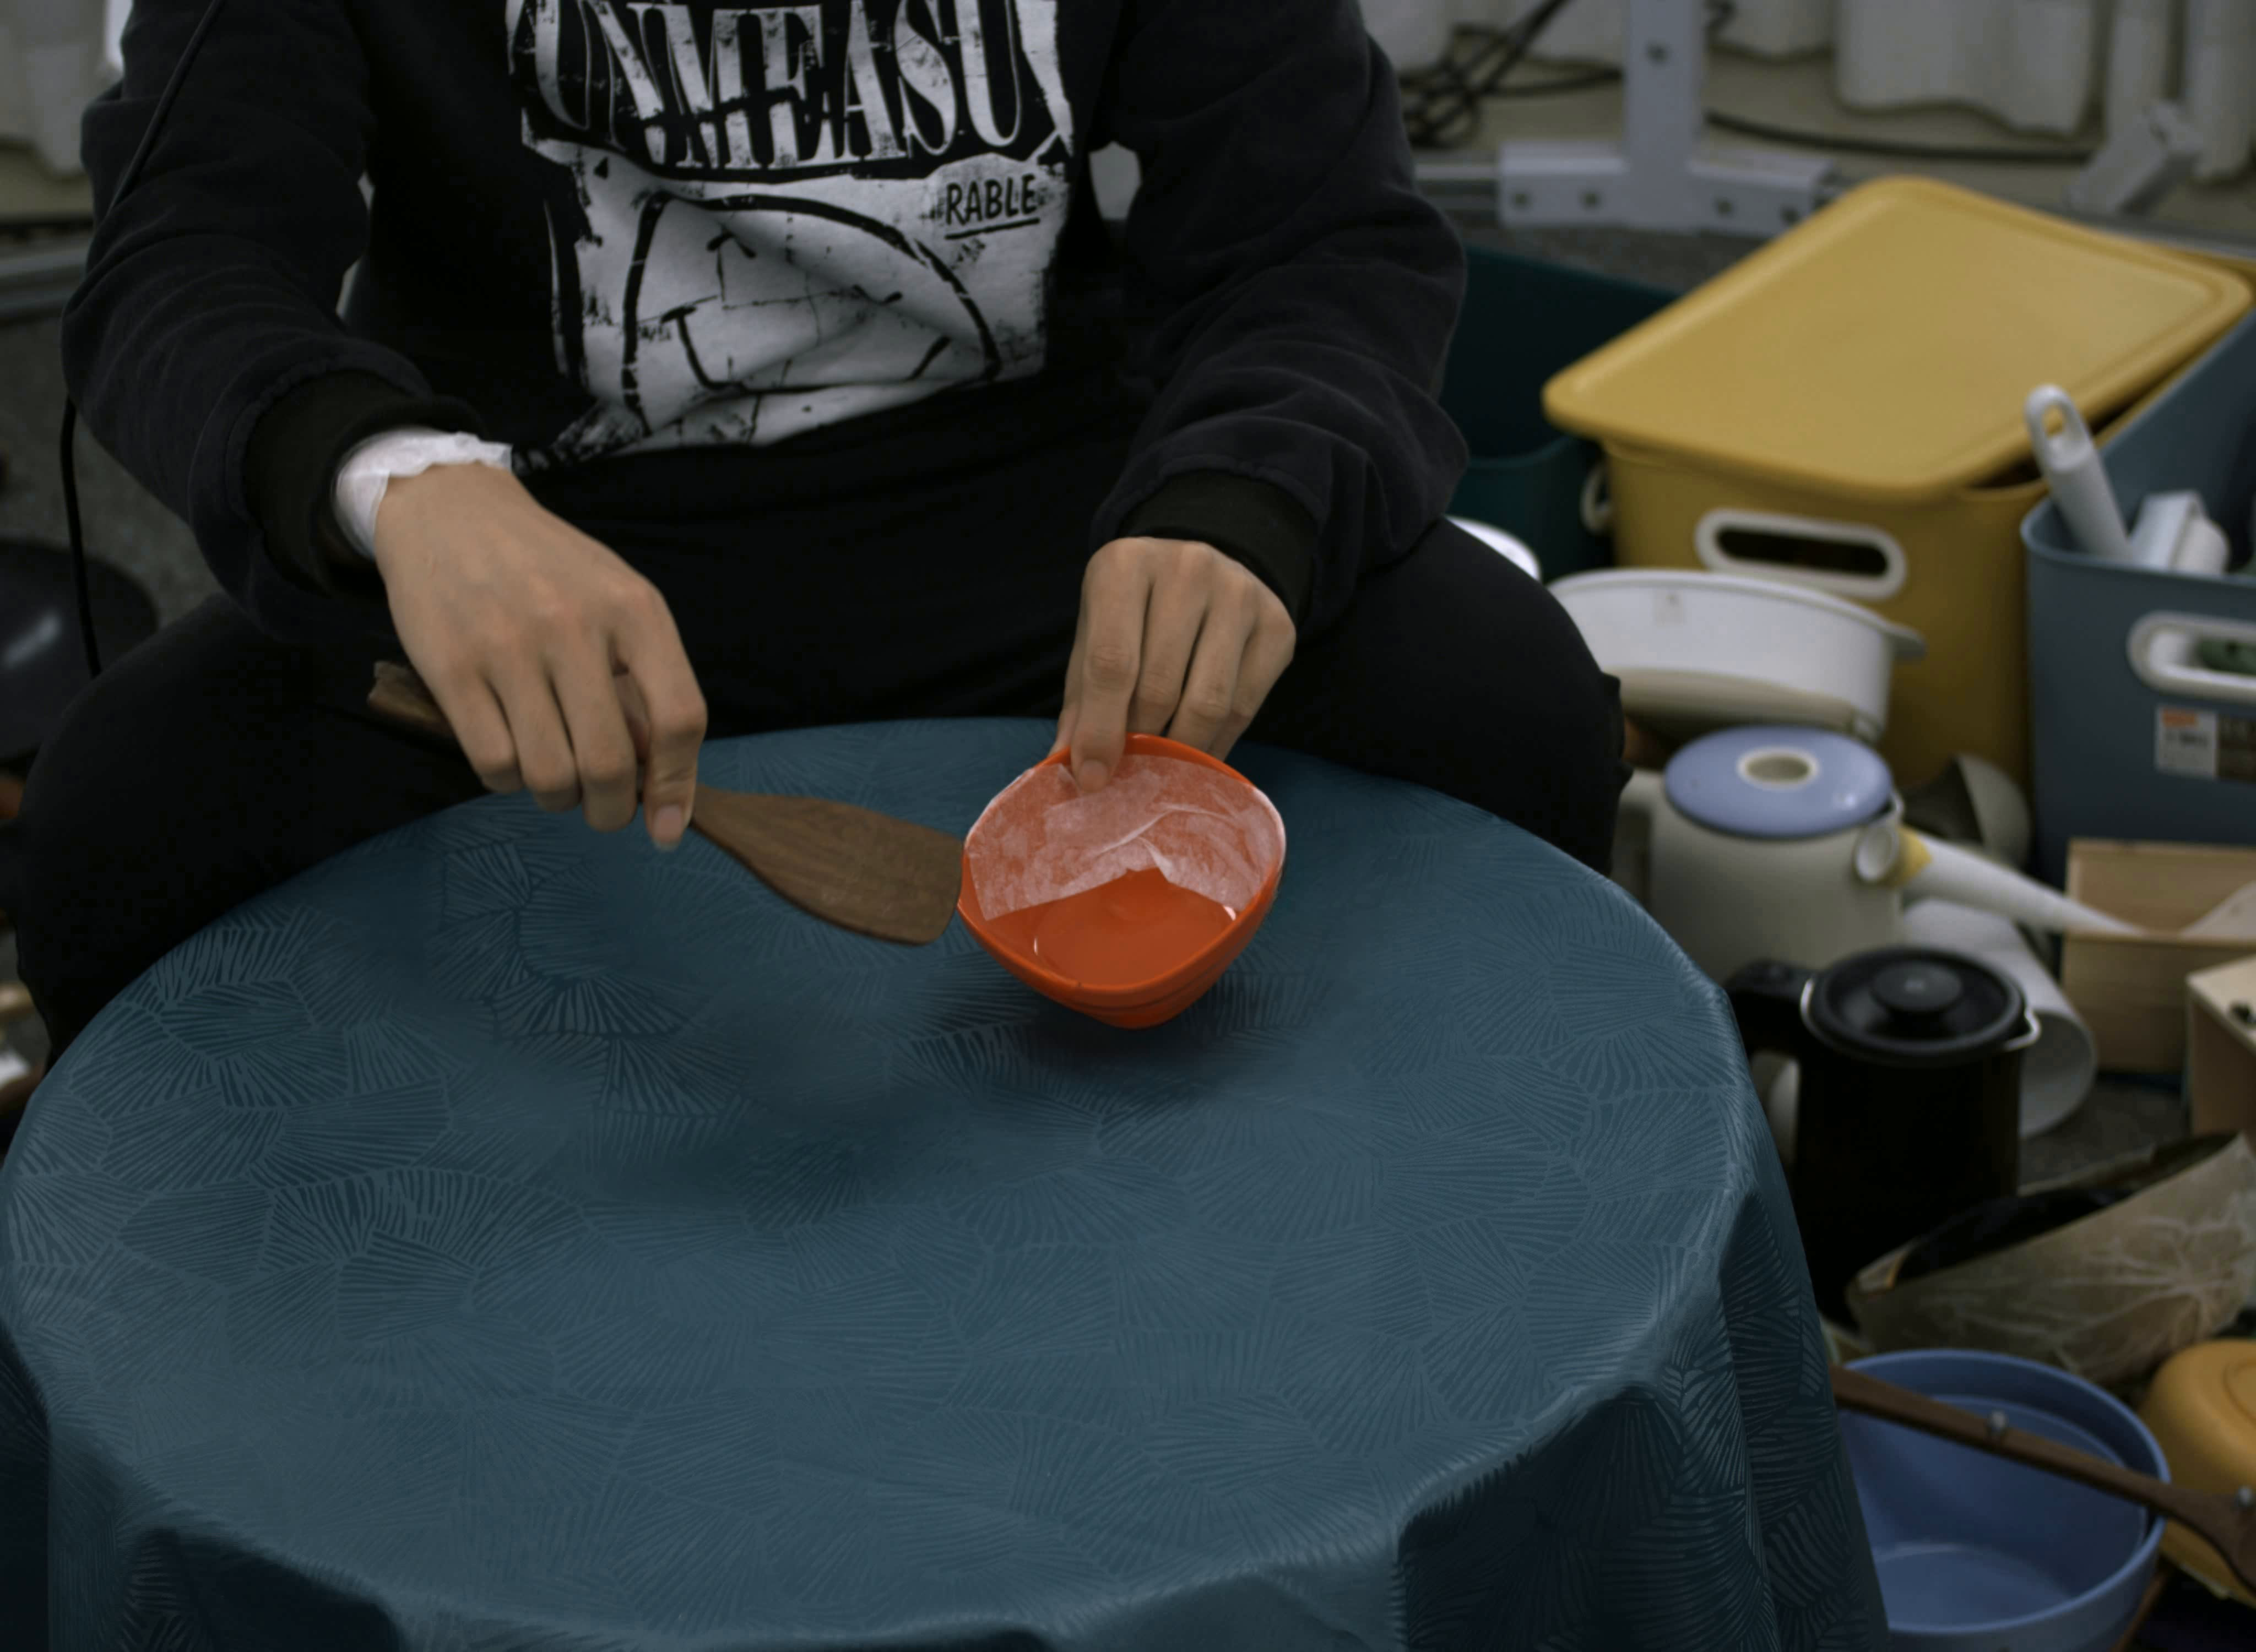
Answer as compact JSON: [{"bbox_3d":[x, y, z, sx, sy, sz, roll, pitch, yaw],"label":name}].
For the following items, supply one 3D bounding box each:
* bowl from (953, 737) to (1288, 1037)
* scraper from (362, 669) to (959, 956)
[{"bbox_3d":[0.001,0.029,1.965,0.118,0.050,0.121,-6,47,7],"label":"bowl"},{"bbox_3d":[-0.157,-0.008,1.888,0.210,0.010,0.077,22,30,-5],"label":"scraper"}]
